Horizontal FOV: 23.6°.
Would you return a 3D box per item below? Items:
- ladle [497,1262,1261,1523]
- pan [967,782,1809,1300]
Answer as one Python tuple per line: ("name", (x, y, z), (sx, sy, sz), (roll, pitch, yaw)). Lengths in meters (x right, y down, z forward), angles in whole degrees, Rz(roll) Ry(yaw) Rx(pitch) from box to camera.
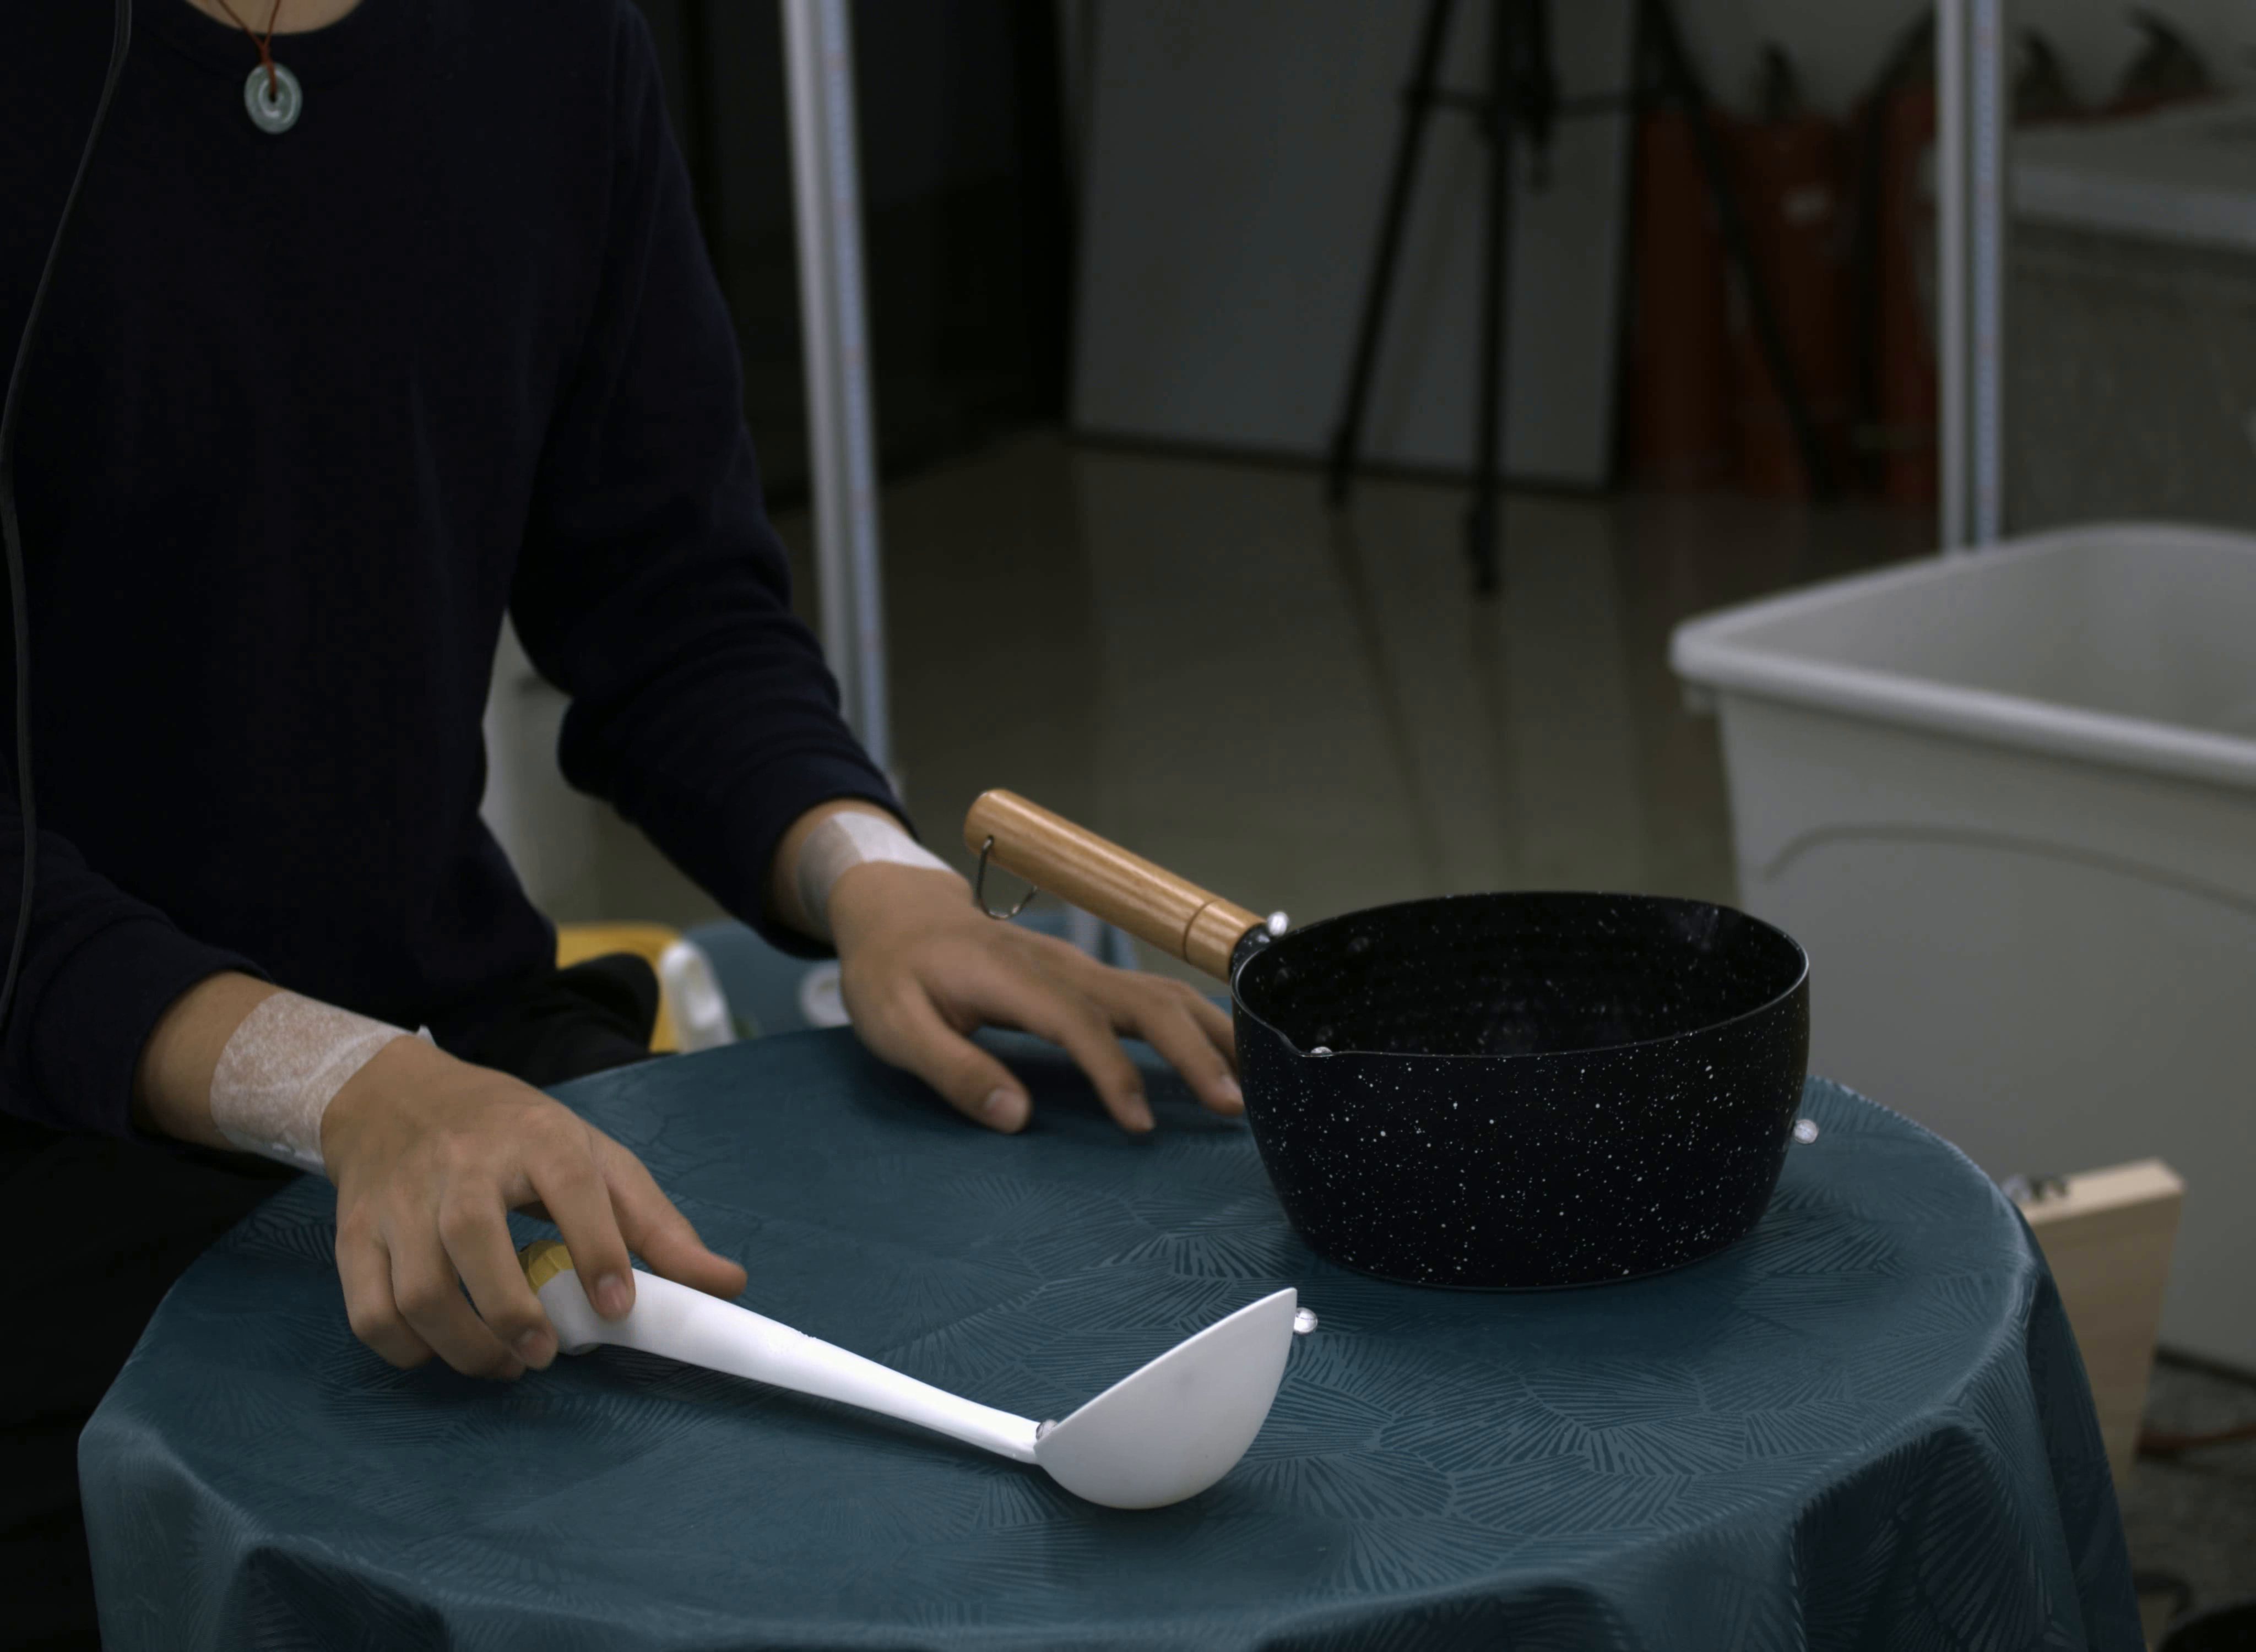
("ladle", (-0.080, 0.148, 1.554), (0.295, 0.070, 0.089), (8, 31, 43))
("pan", (0.069, 0.063, 1.759), (0.203, 0.109, 0.346), (-18, 21, -42))
